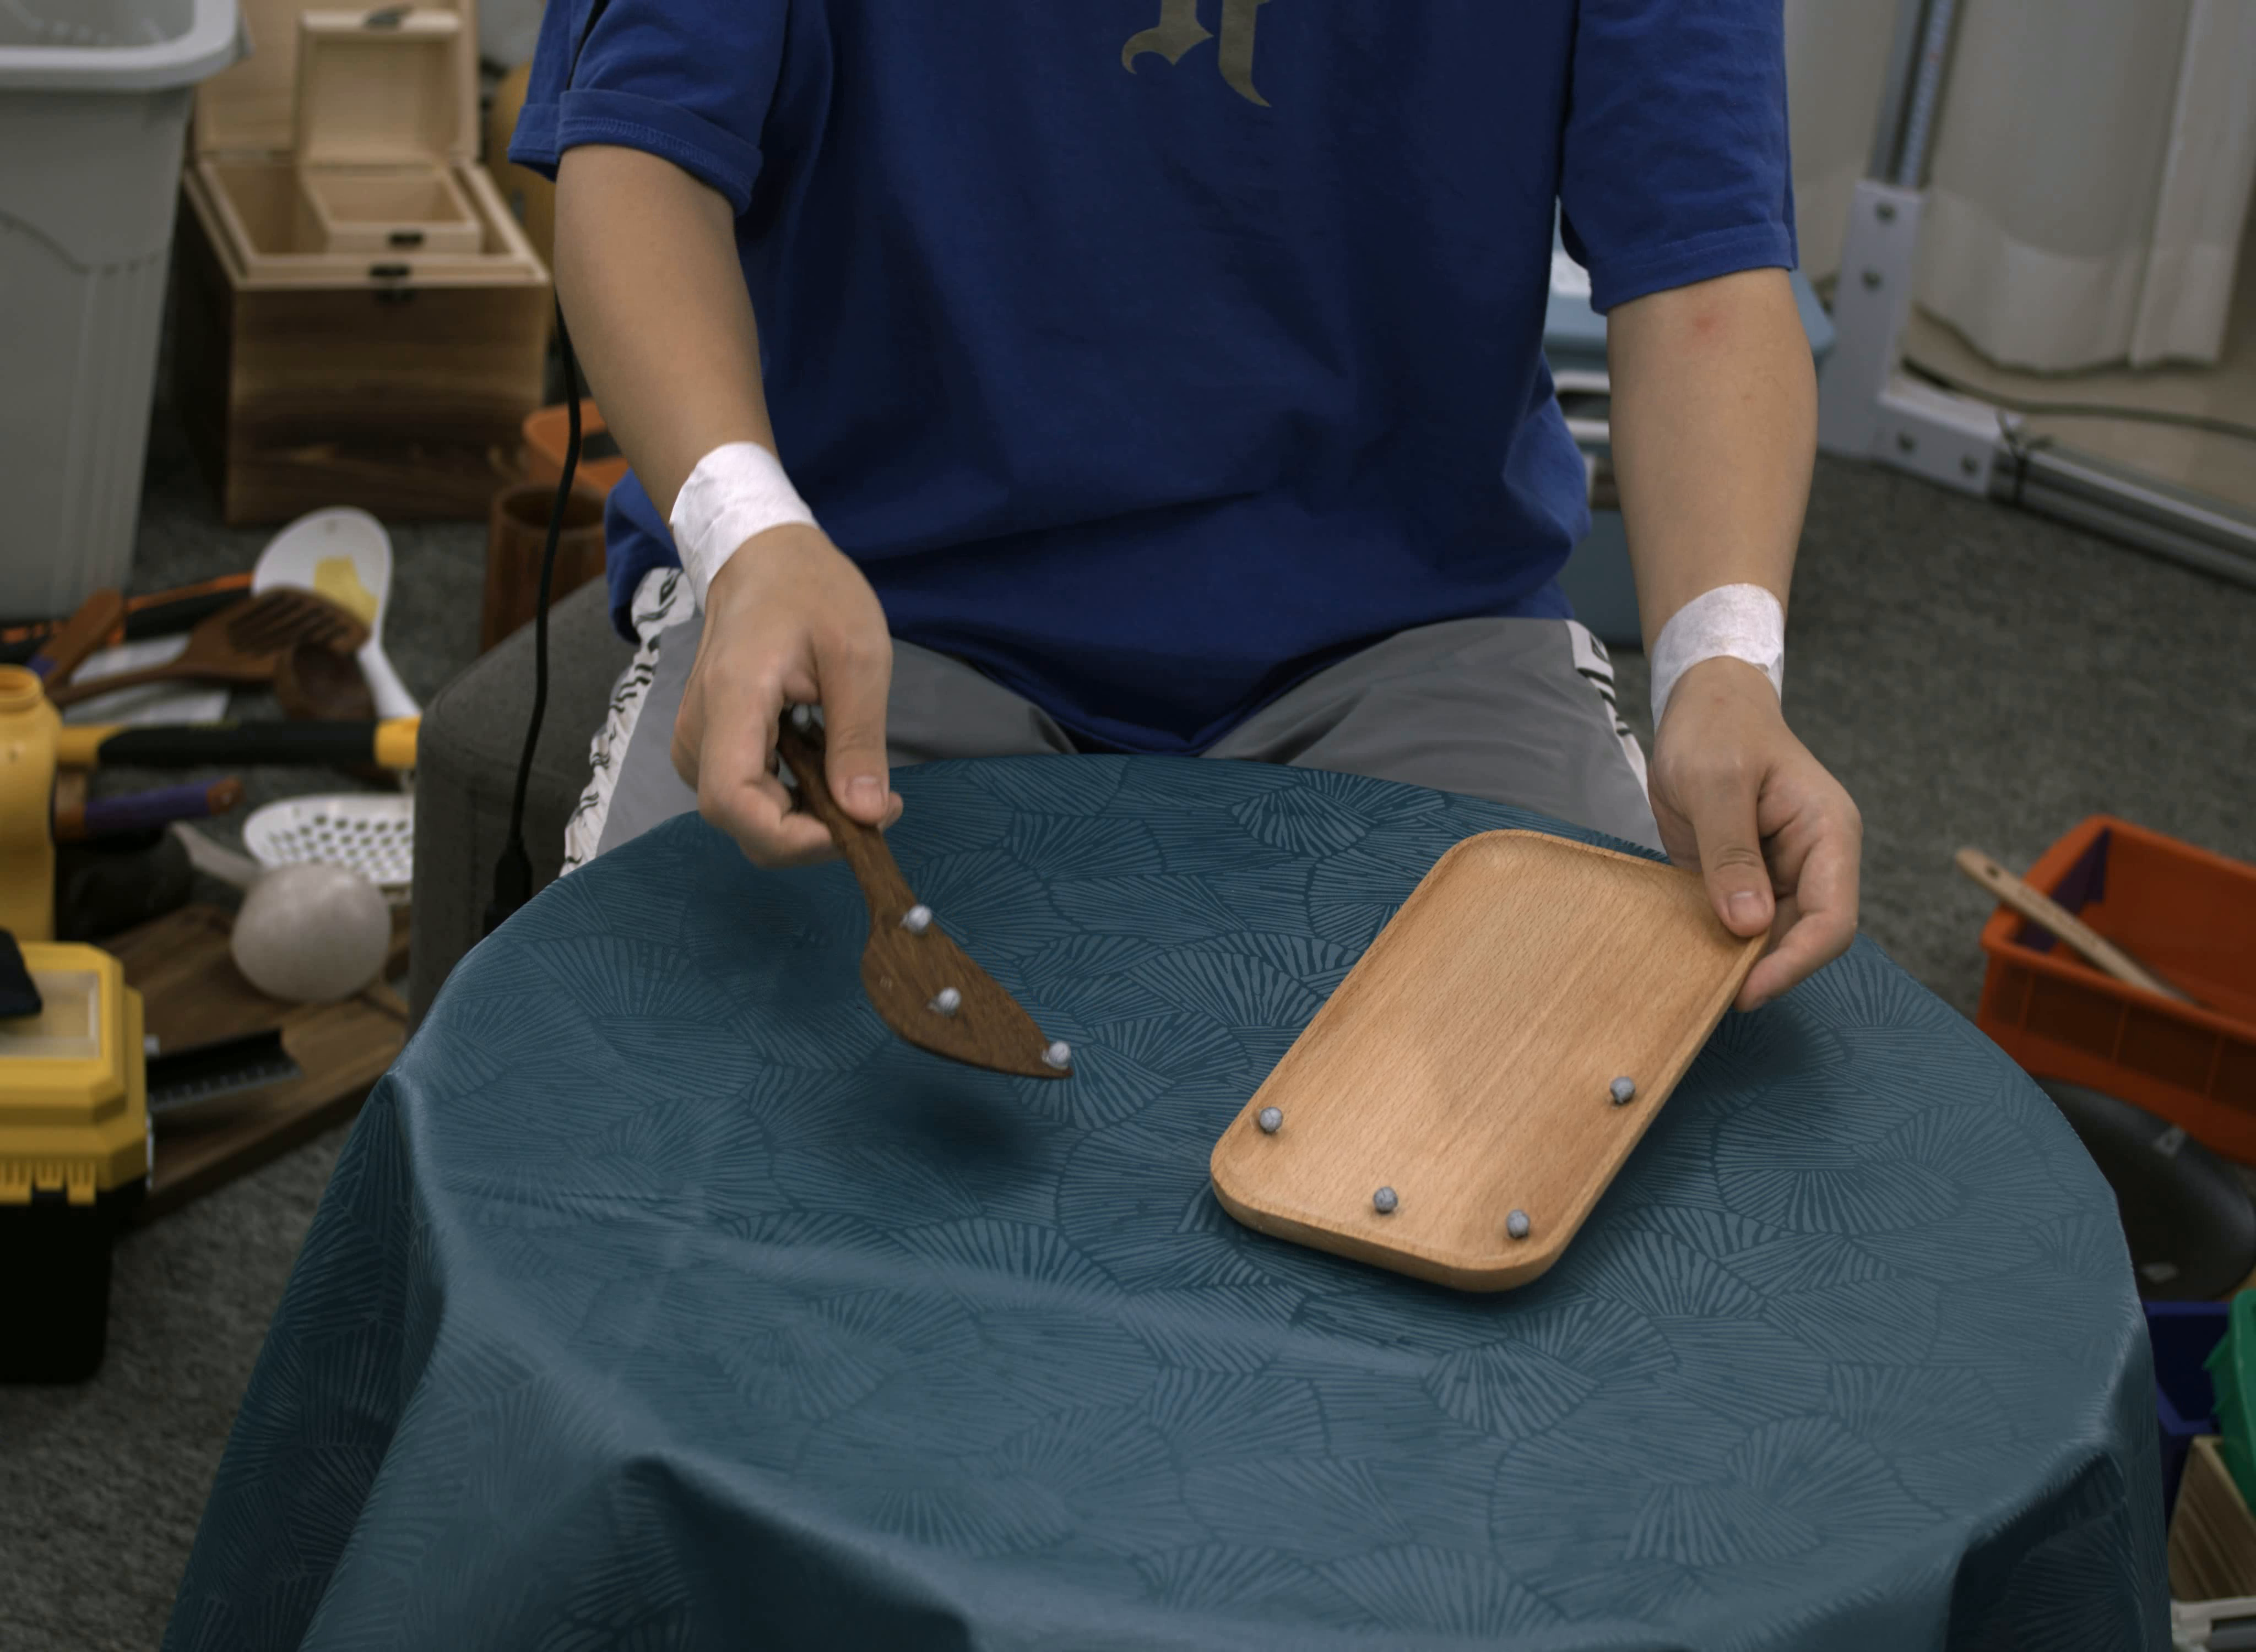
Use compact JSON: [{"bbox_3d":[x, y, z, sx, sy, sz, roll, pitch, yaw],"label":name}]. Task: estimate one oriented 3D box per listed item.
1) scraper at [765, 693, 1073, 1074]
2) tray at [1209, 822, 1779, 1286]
[{"bbox_3d":[-0.084,0.018,1.863,0.075,0.011,0.213,17,28,-36],"label":"scraper"},{"bbox_3d":[0.131,0.077,1.859,0.131,0.023,0.251,17,37,22],"label":"tray"}]
